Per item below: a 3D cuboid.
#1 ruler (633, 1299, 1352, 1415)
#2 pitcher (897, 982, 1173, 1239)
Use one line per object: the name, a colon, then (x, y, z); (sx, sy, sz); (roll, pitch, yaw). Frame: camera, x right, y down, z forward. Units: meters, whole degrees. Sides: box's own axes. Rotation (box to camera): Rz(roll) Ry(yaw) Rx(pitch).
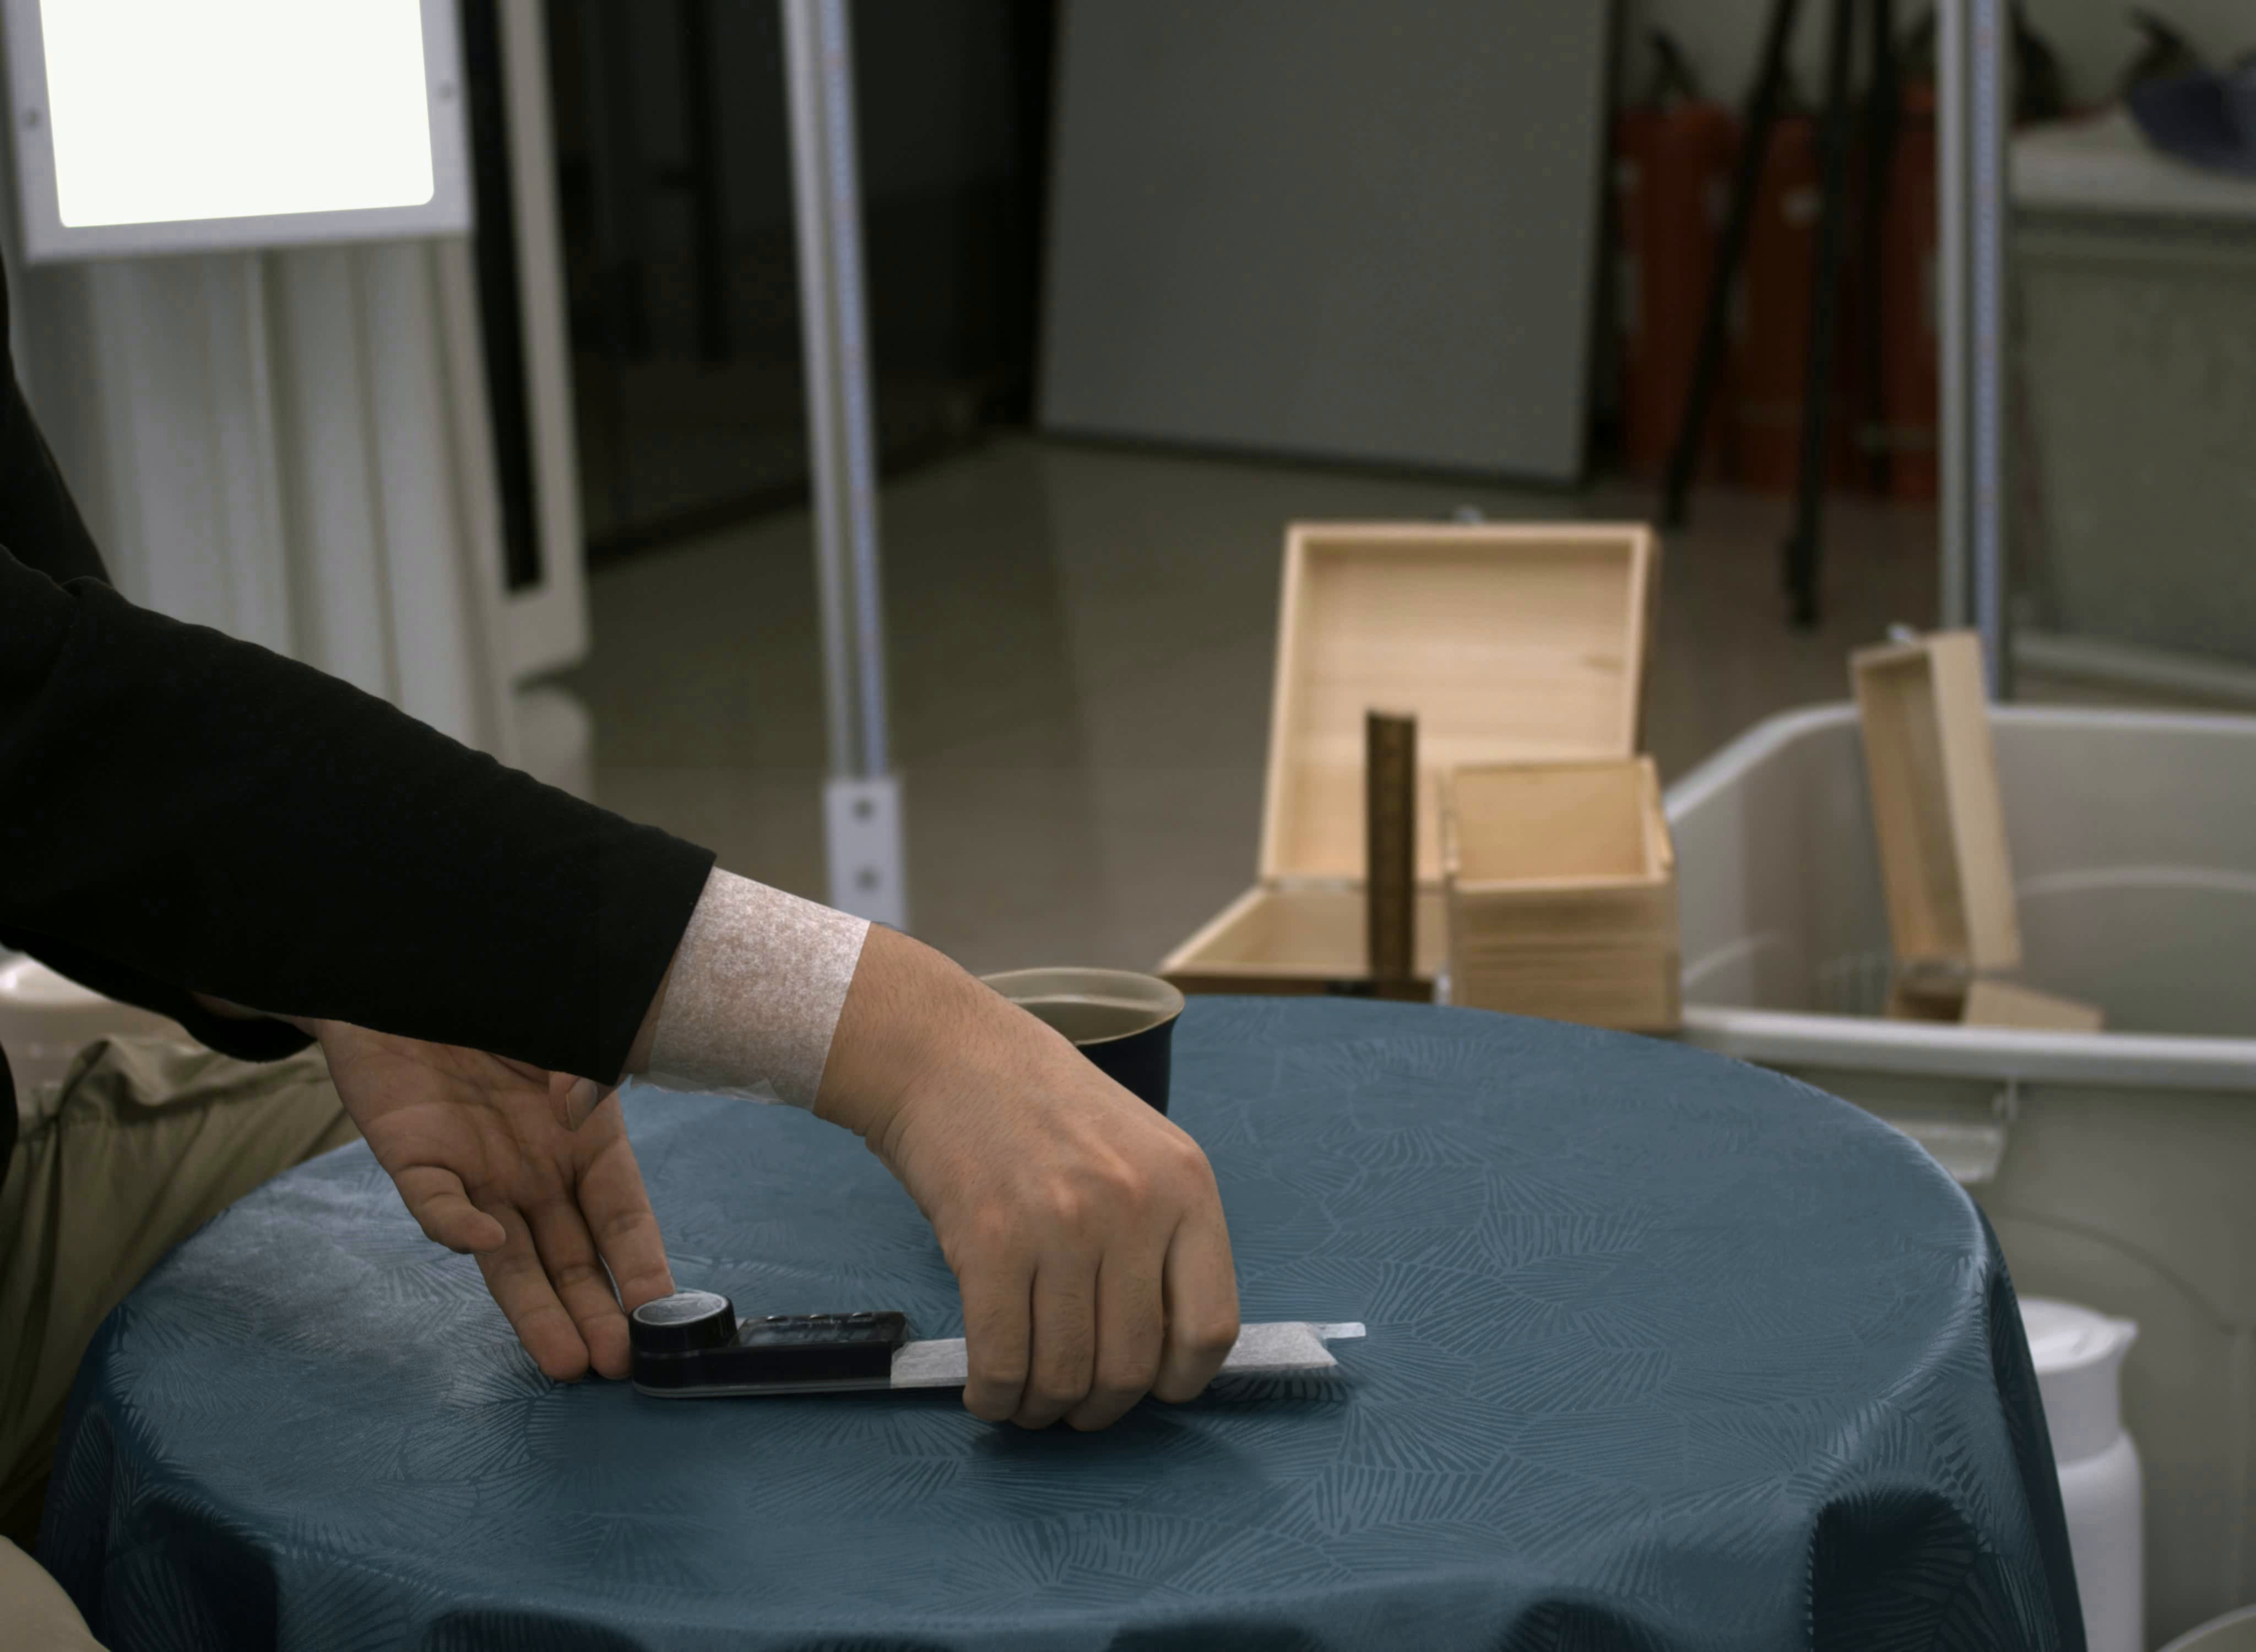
ruler: (-0.042, 0.149, 1.594); (0.217, 0.024, 0.038); (-6, 20, 15)
pitcher: (-0.031, 0.091, 1.746); (0.096, 0.072, 0.082); (5, 17, 29)
